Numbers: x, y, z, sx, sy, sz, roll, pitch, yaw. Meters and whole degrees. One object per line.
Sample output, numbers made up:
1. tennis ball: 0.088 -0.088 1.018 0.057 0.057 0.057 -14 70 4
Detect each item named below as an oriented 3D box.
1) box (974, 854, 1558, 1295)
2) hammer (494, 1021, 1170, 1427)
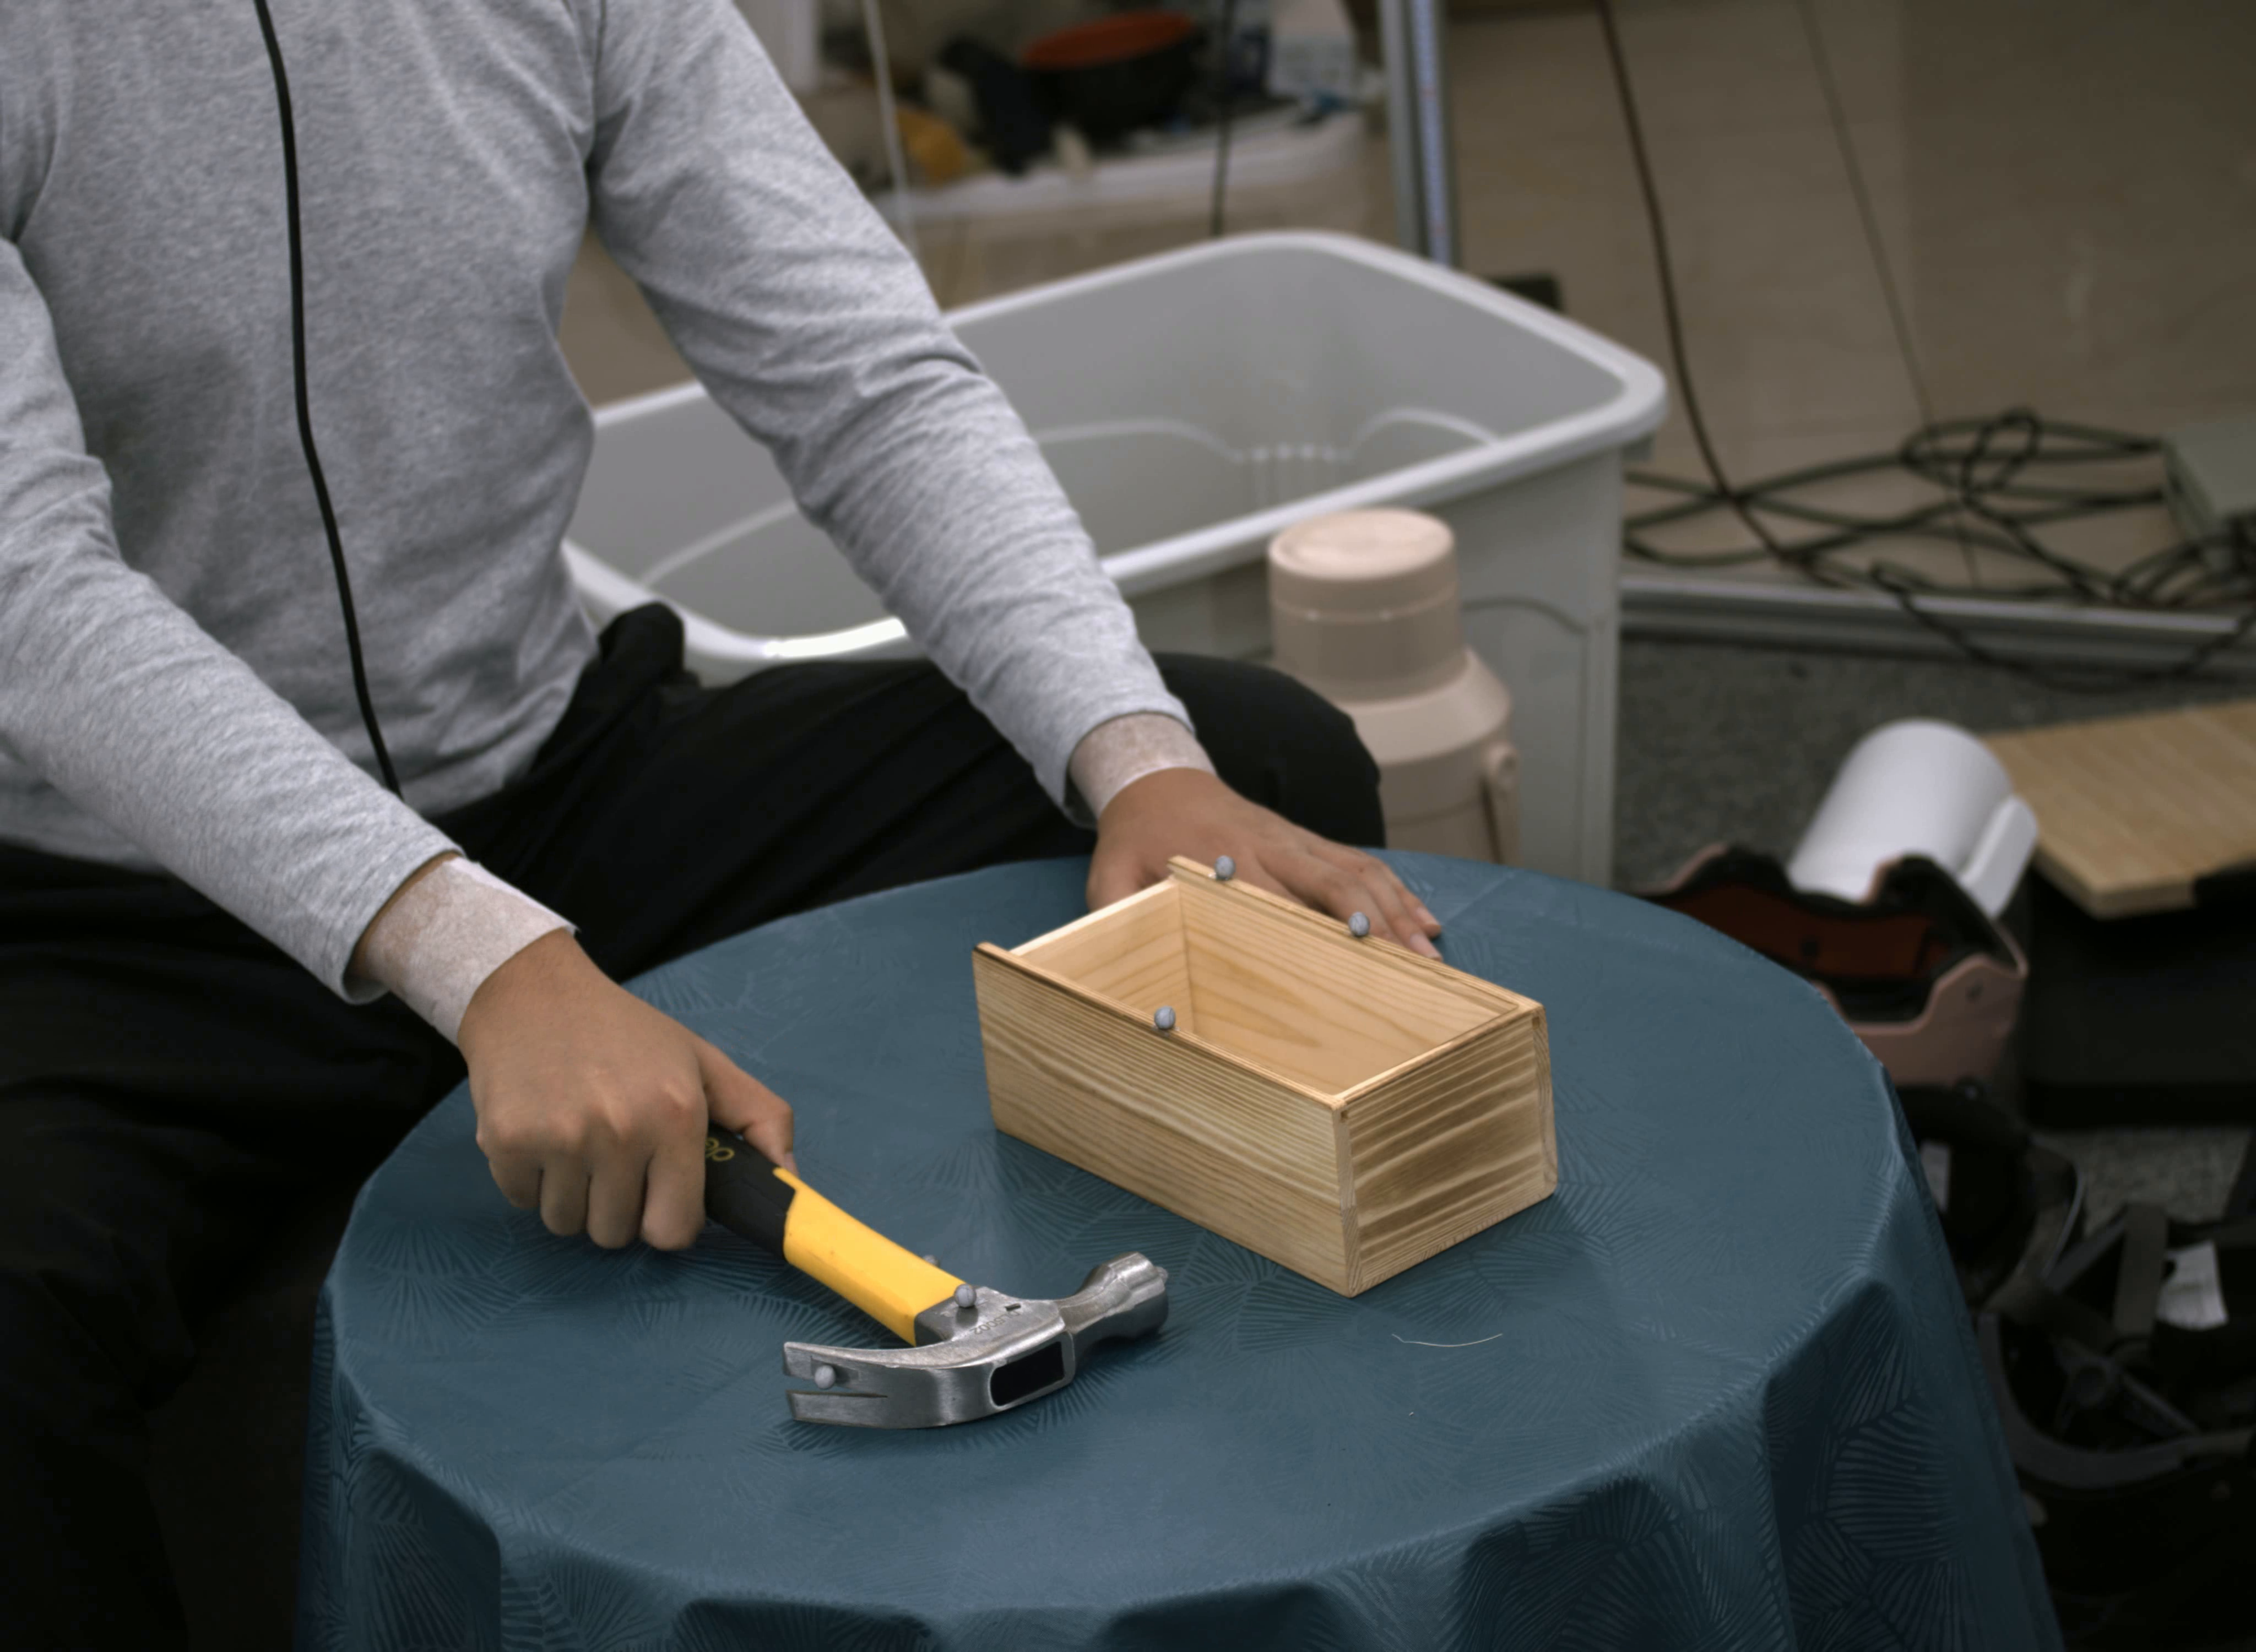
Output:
1. box: 0.051 0.091 2.144 0.107 0.081 0.209 -25 31 -33
2. hammer: -0.136 0.140 2.128 0.130 0.033 0.335 -25 33 -30
